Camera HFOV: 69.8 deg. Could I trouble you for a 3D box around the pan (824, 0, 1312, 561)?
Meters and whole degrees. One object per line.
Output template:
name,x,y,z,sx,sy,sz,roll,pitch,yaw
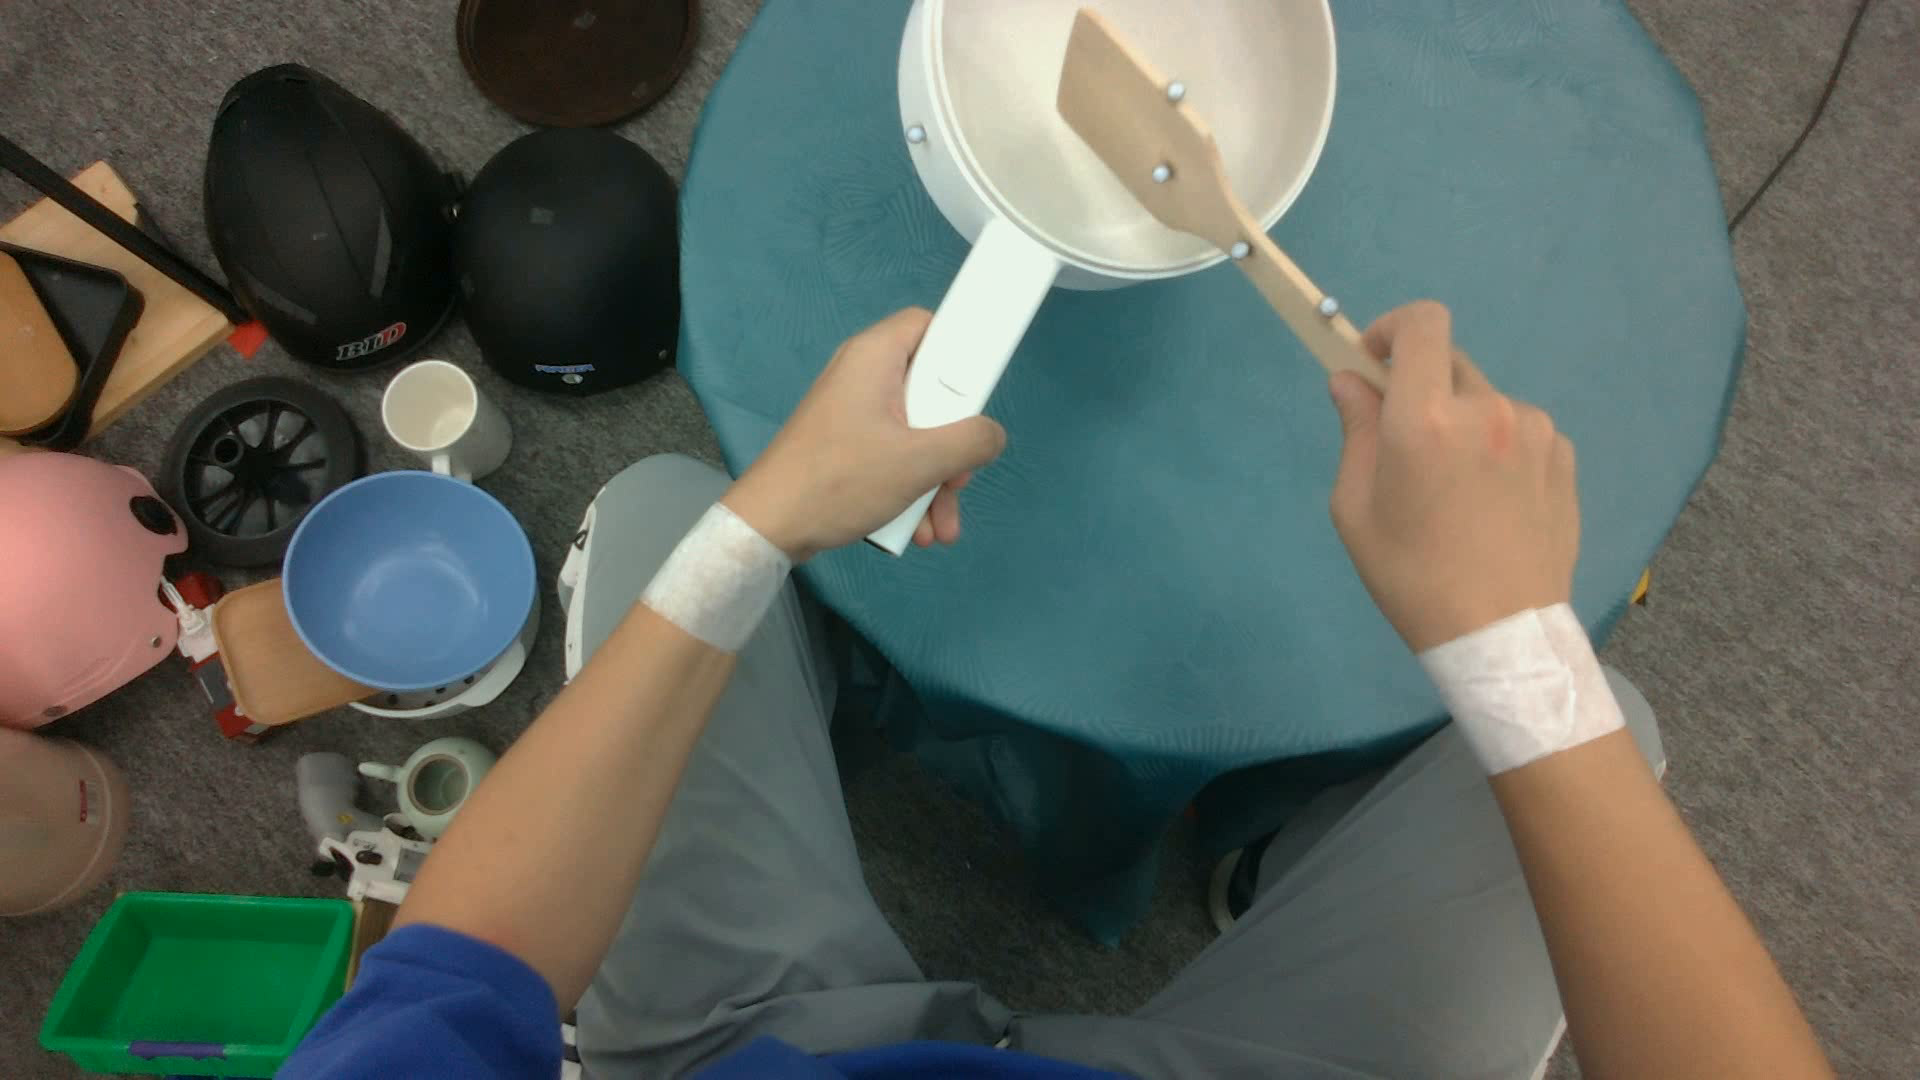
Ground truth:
pan,0.029,-0.155,0.681,0.201,0.102,0.355,29,84,-16

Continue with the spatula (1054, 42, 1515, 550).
spatula,0.139,-0.108,0.613,0.011,0.072,0.293,-34,73,-16
